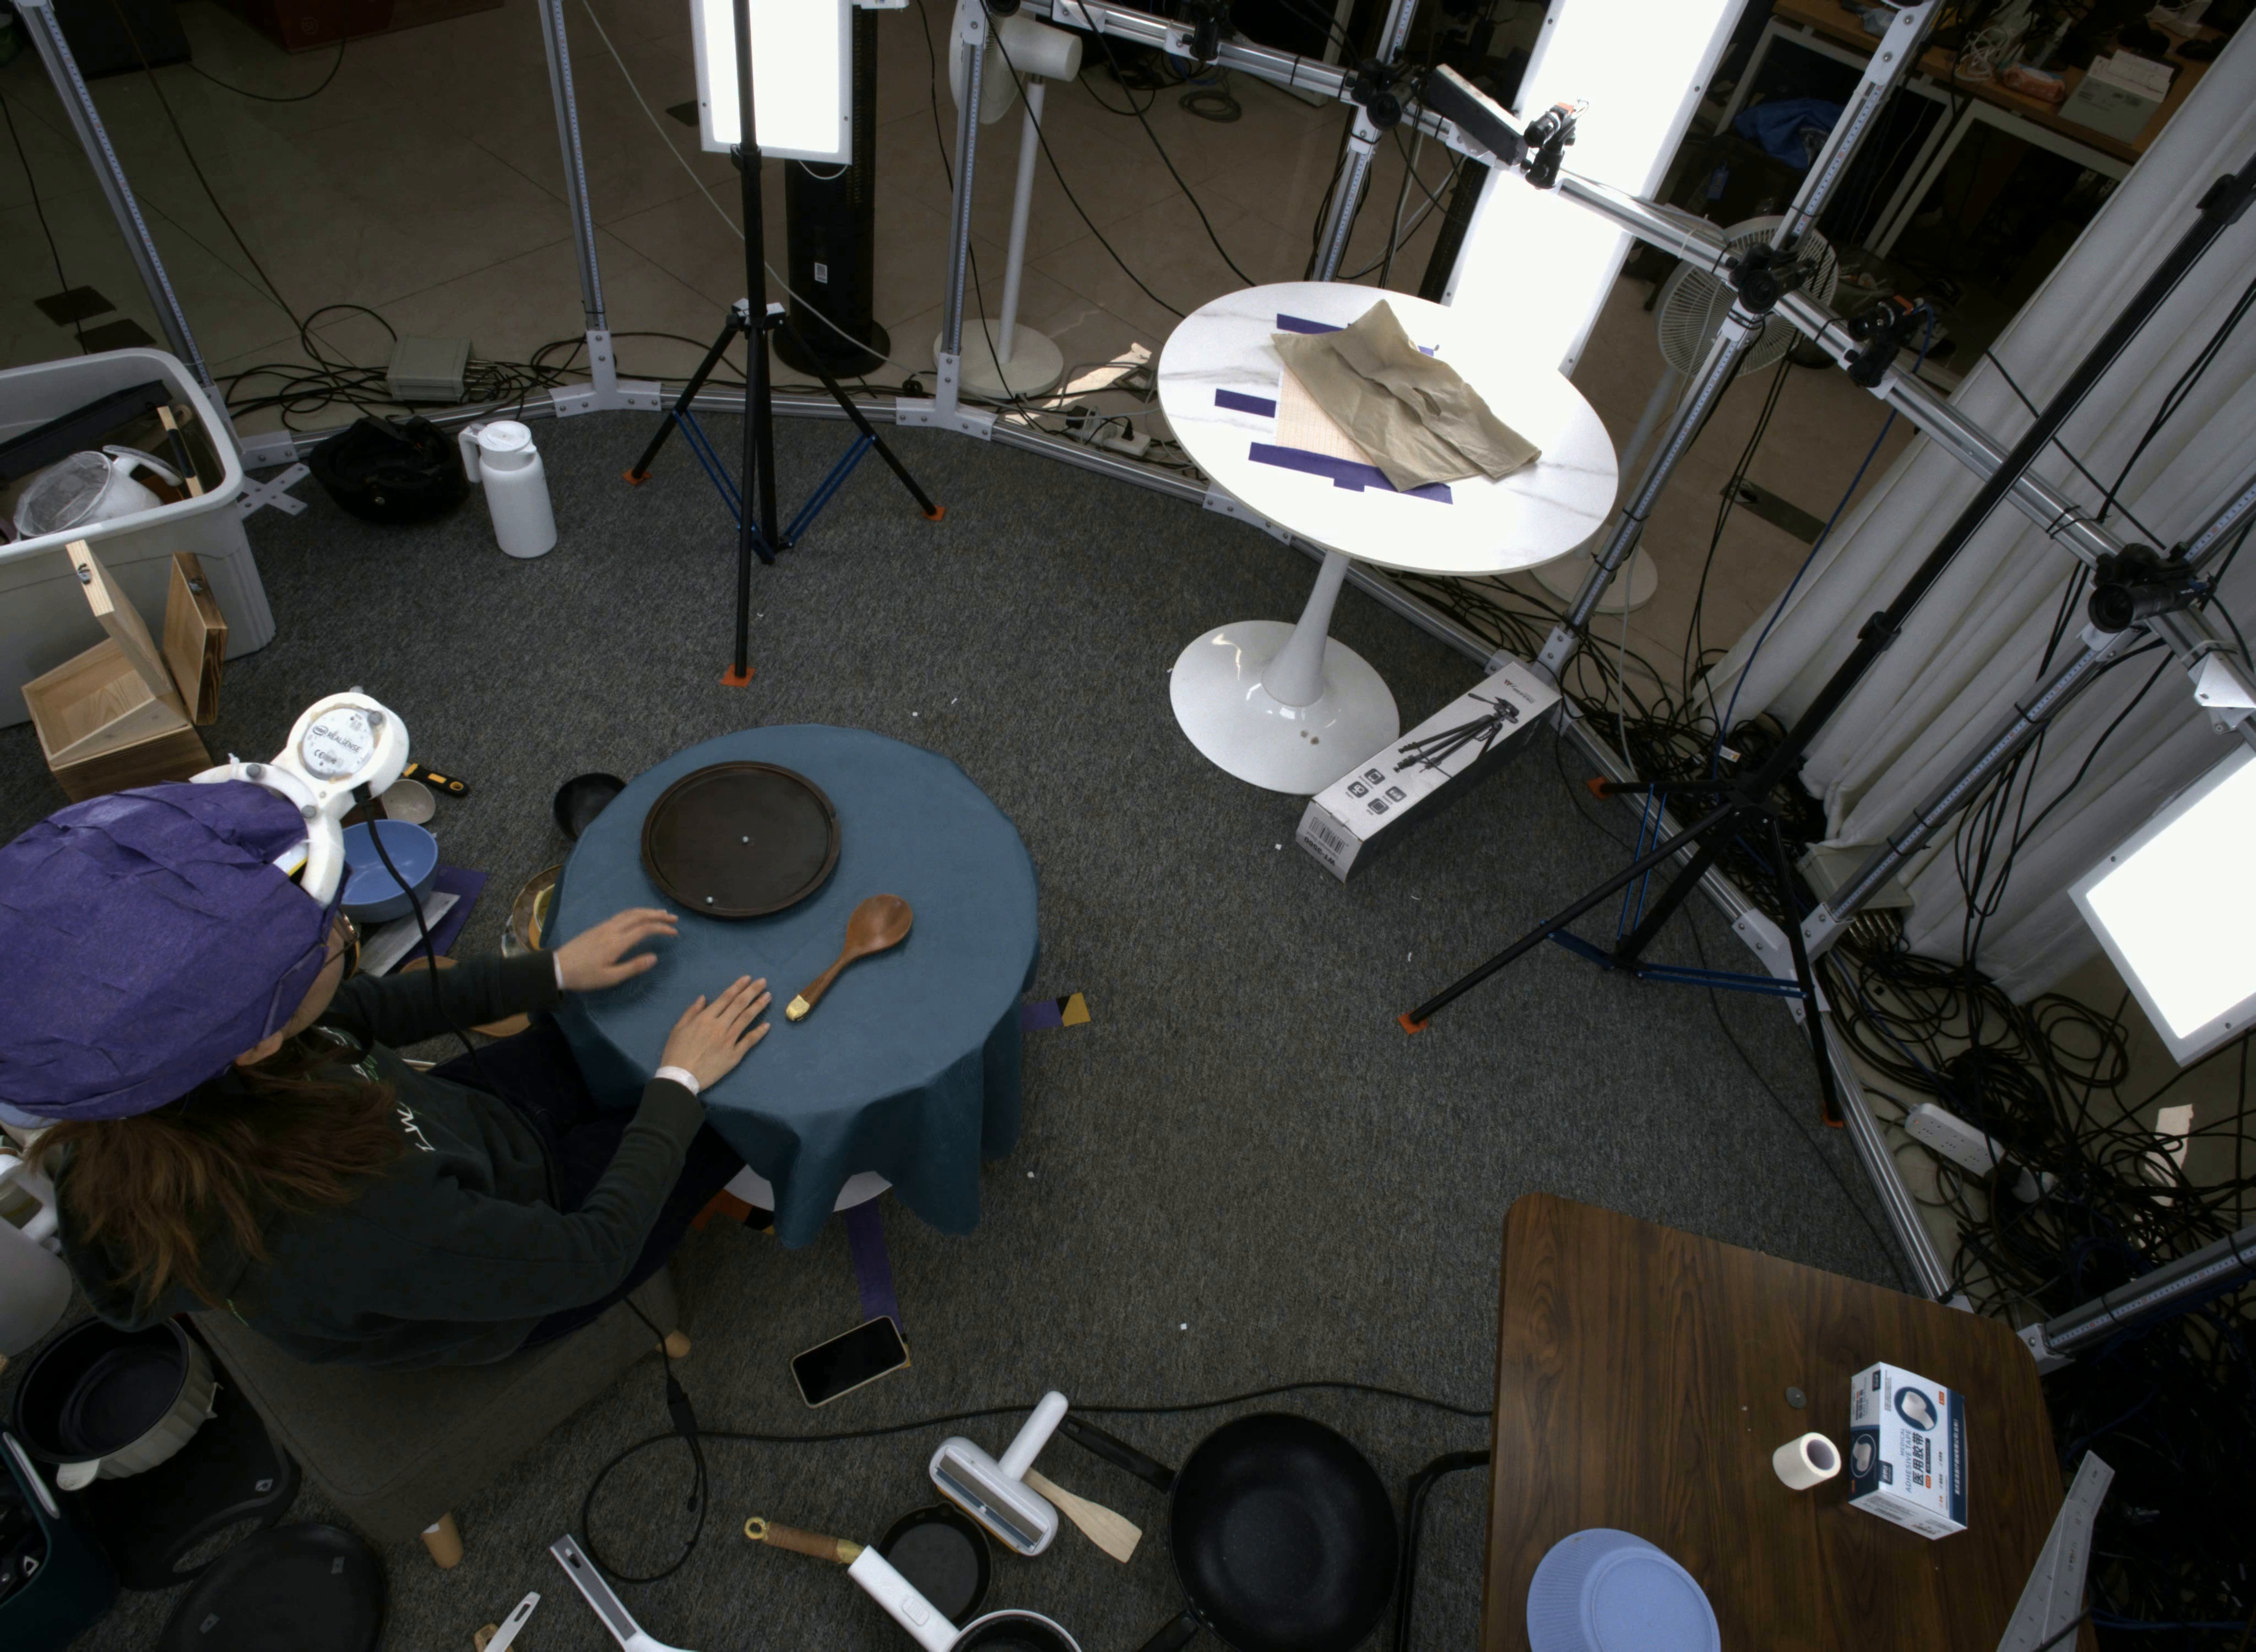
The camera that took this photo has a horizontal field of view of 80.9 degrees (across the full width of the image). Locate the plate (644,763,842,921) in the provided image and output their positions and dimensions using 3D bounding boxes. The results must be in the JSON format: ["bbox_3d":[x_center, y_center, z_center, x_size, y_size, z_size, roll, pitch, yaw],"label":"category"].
[{"bbox_3d":[-0.500,0.017,1.683,0.254,0.029,0.250,8,51,-9],"label":"plate"}]

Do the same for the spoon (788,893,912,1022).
[{"bbox_3d":[-0.349,0.161,1.617,0.074,0.017,0.215,32,52,10],"label":"spoon"}]
